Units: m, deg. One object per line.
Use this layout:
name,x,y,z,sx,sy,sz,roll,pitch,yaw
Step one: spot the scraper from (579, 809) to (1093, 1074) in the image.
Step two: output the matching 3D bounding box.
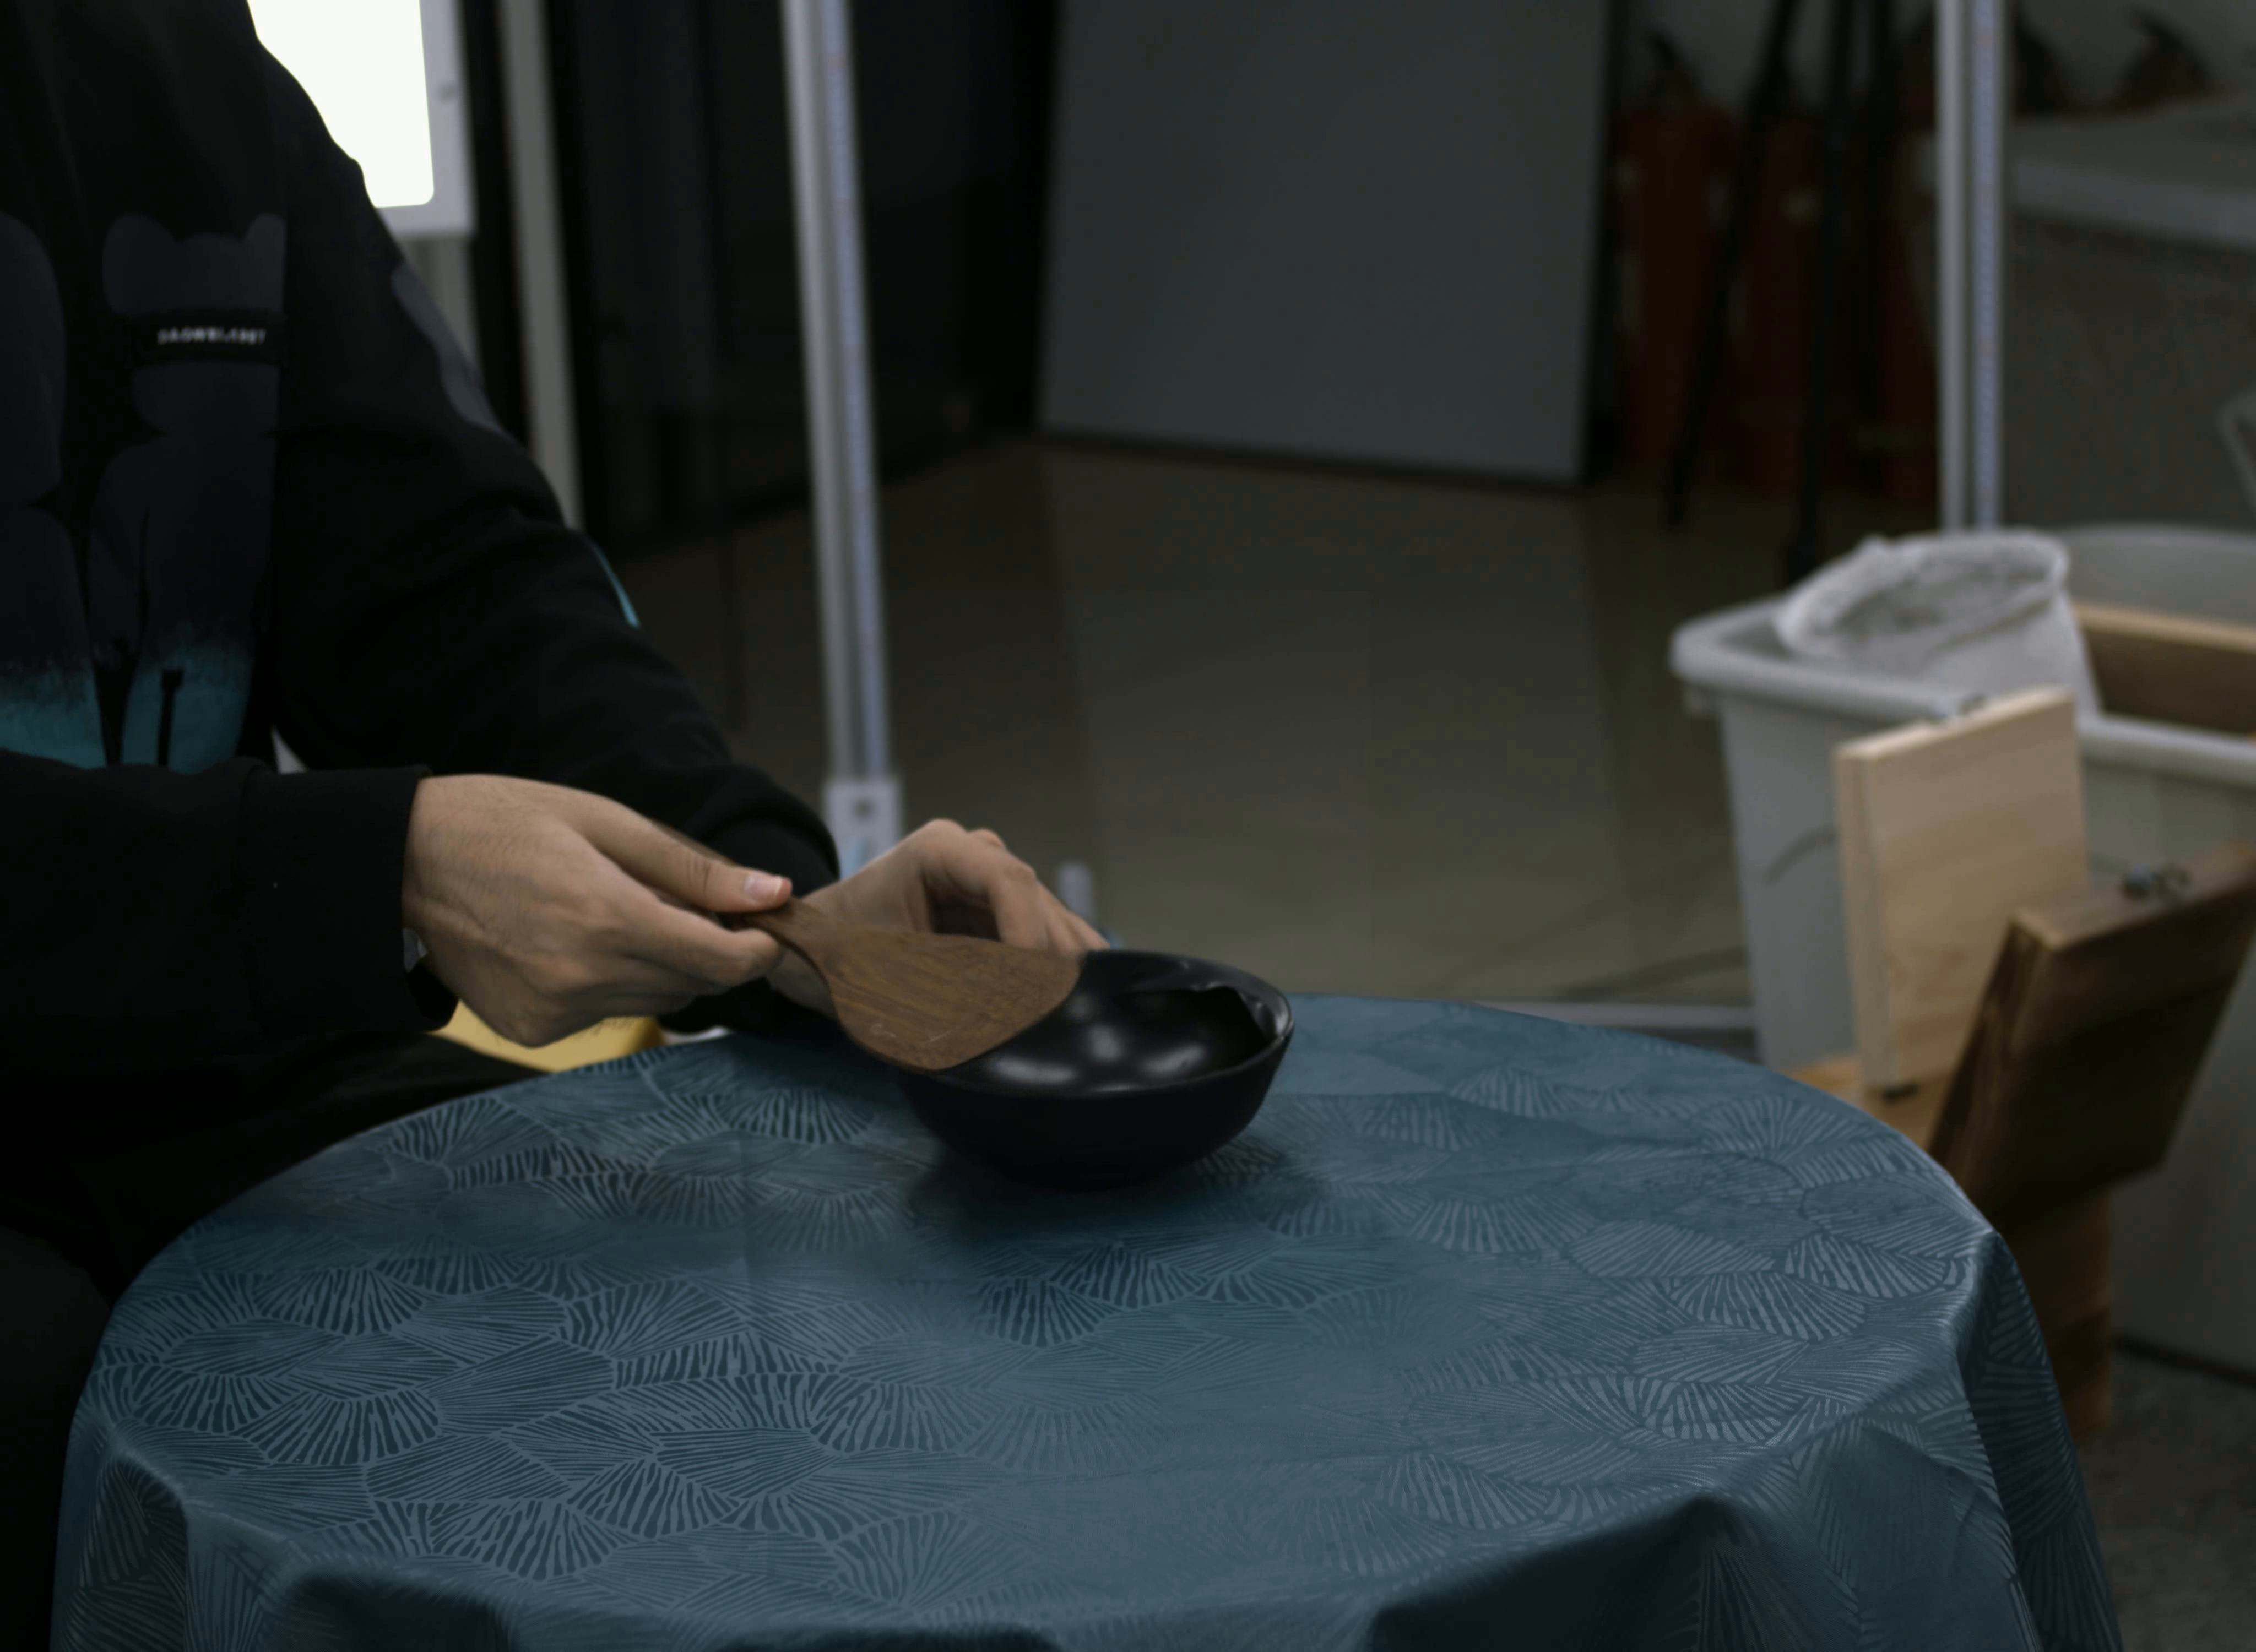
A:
scraper,-0.104,0.033,1.774,0.213,0.011,0.074,24,42,39

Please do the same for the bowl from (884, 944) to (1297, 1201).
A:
bowl,-0.011,0.088,1.794,0.138,0.050,0.140,-4,20,0
